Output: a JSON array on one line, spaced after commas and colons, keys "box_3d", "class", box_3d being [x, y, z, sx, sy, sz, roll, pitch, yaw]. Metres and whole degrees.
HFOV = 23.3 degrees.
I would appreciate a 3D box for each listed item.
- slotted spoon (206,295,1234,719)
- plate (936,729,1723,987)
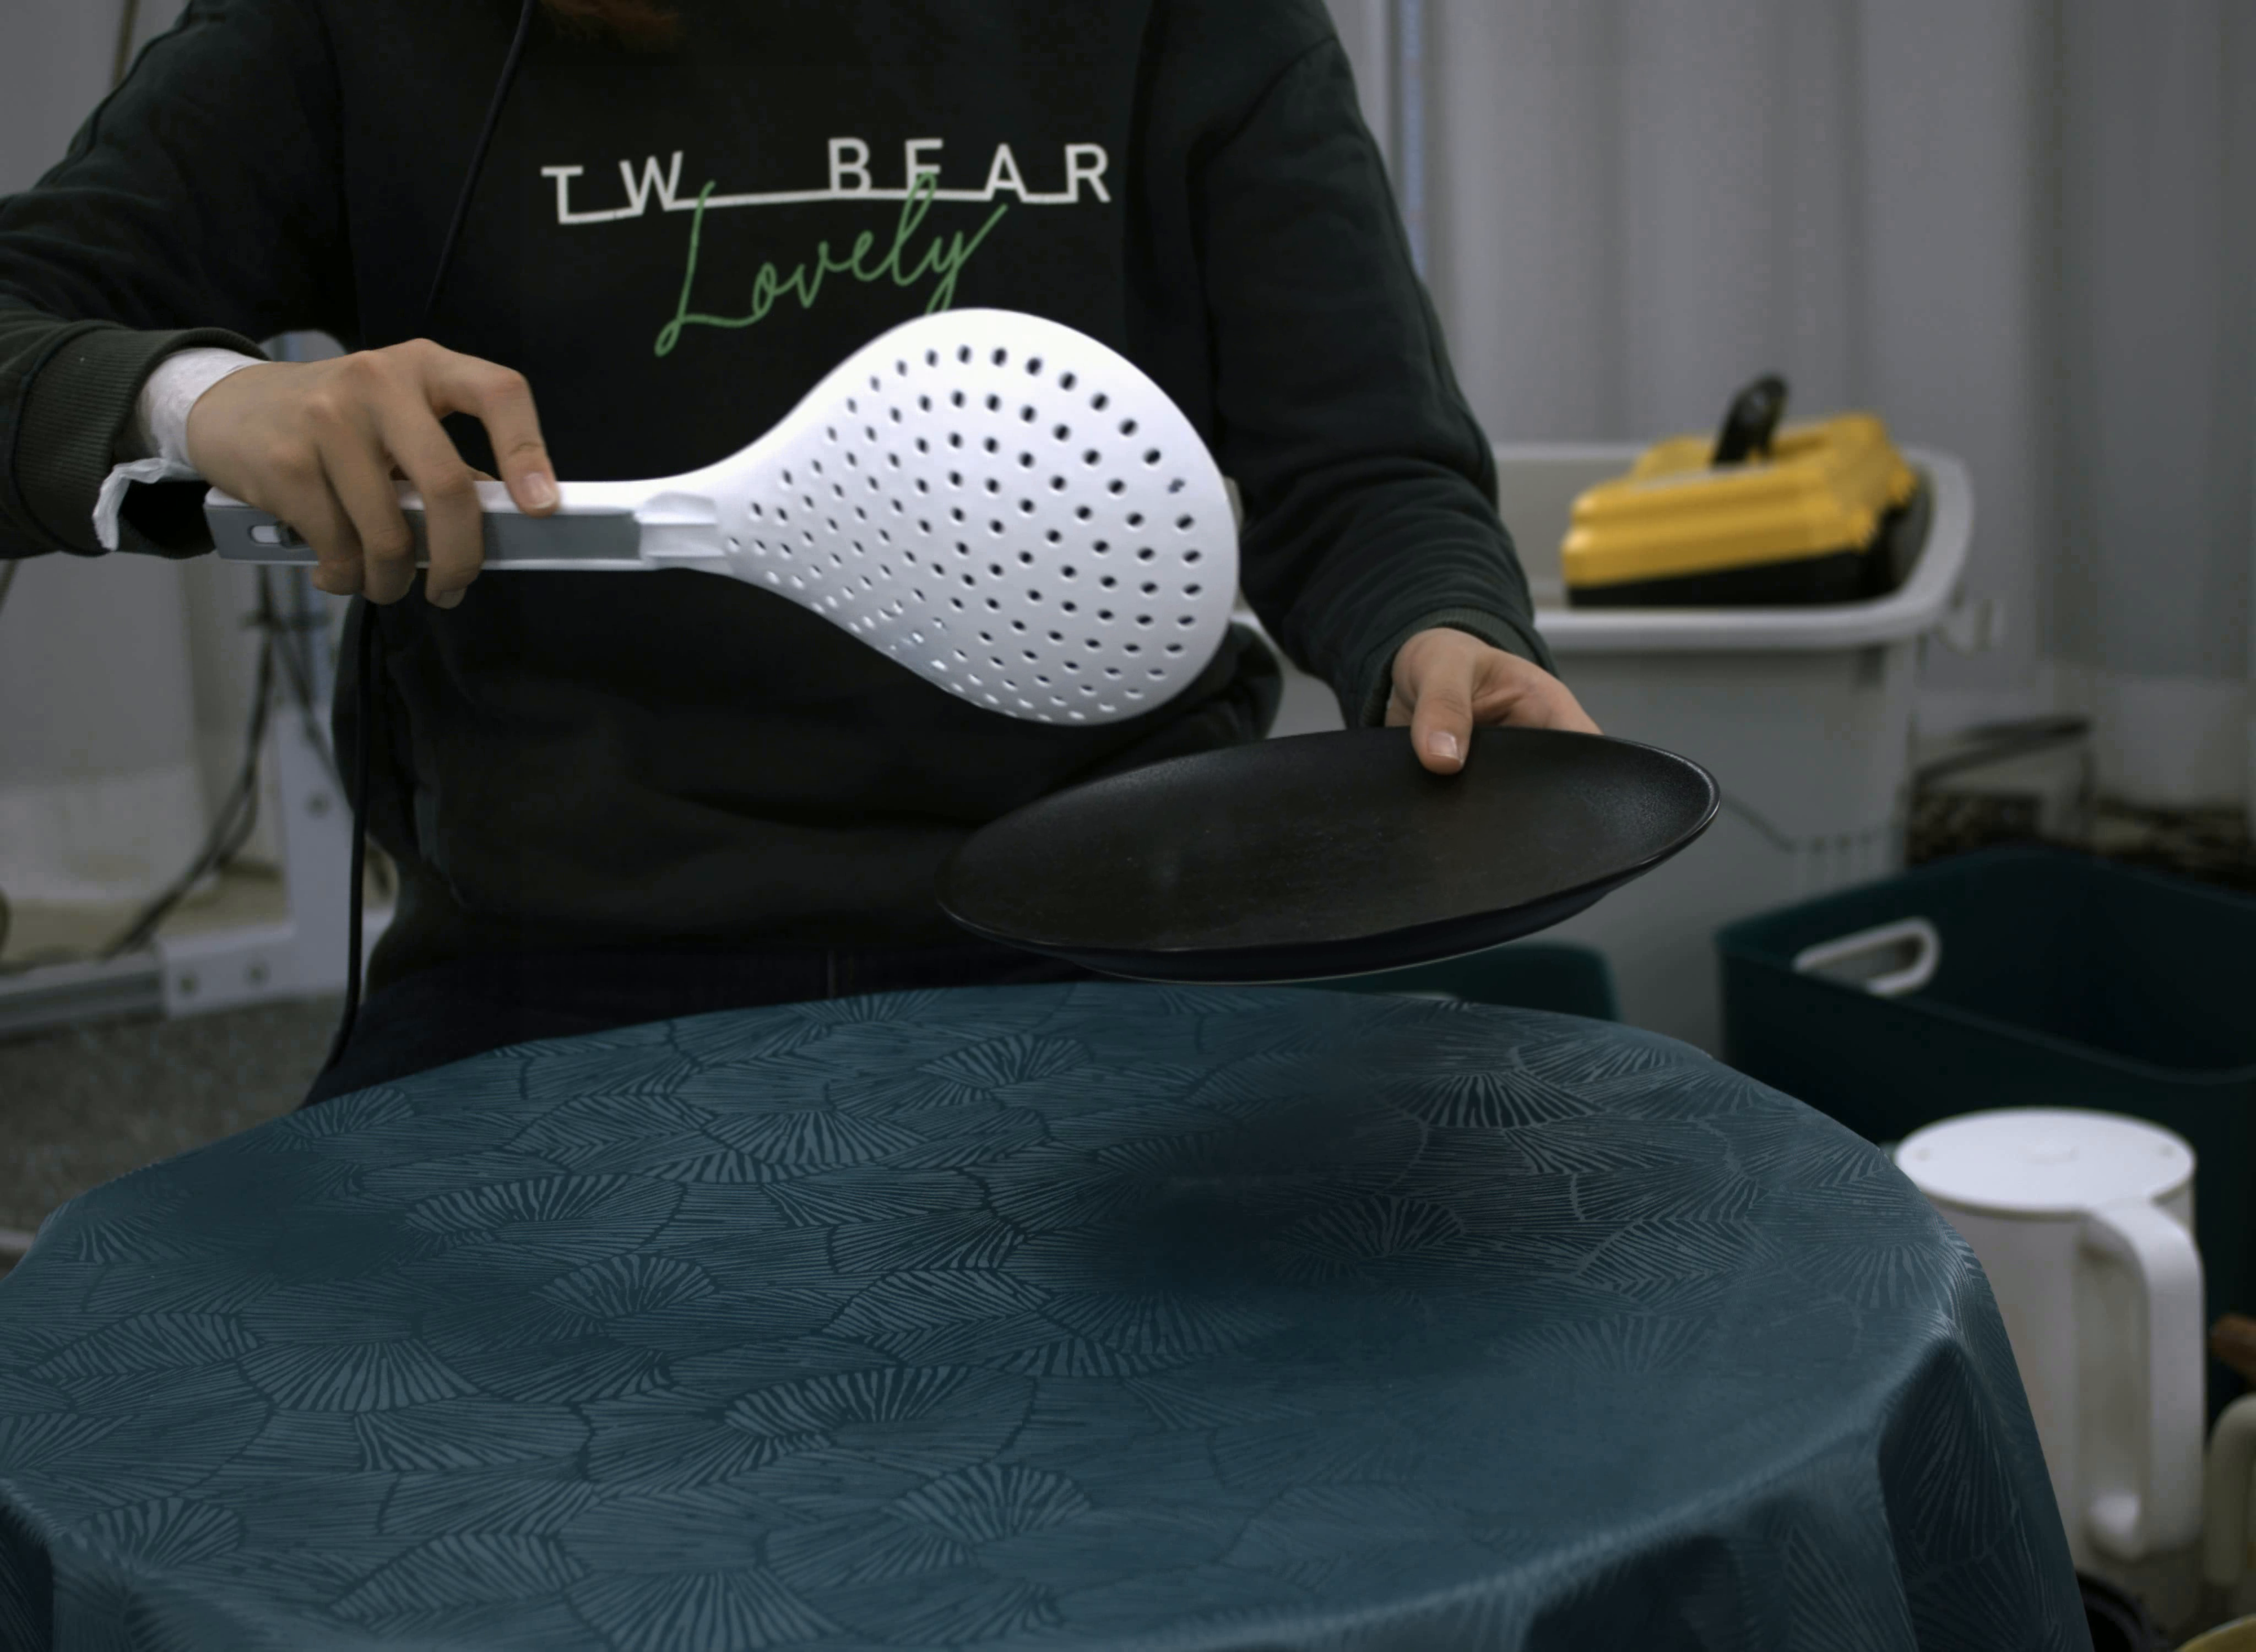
[{"box_3d": [-0.131, -0.091, 1.651, 0.350, 0.135, 0.046, 4, 28, 31], "class": "slotted spoon"}, {"box_3d": [0.062, 0.011, 1.681, 0.243, 0.023, 0.246, -7, 14, 1], "class": "plate"}]
